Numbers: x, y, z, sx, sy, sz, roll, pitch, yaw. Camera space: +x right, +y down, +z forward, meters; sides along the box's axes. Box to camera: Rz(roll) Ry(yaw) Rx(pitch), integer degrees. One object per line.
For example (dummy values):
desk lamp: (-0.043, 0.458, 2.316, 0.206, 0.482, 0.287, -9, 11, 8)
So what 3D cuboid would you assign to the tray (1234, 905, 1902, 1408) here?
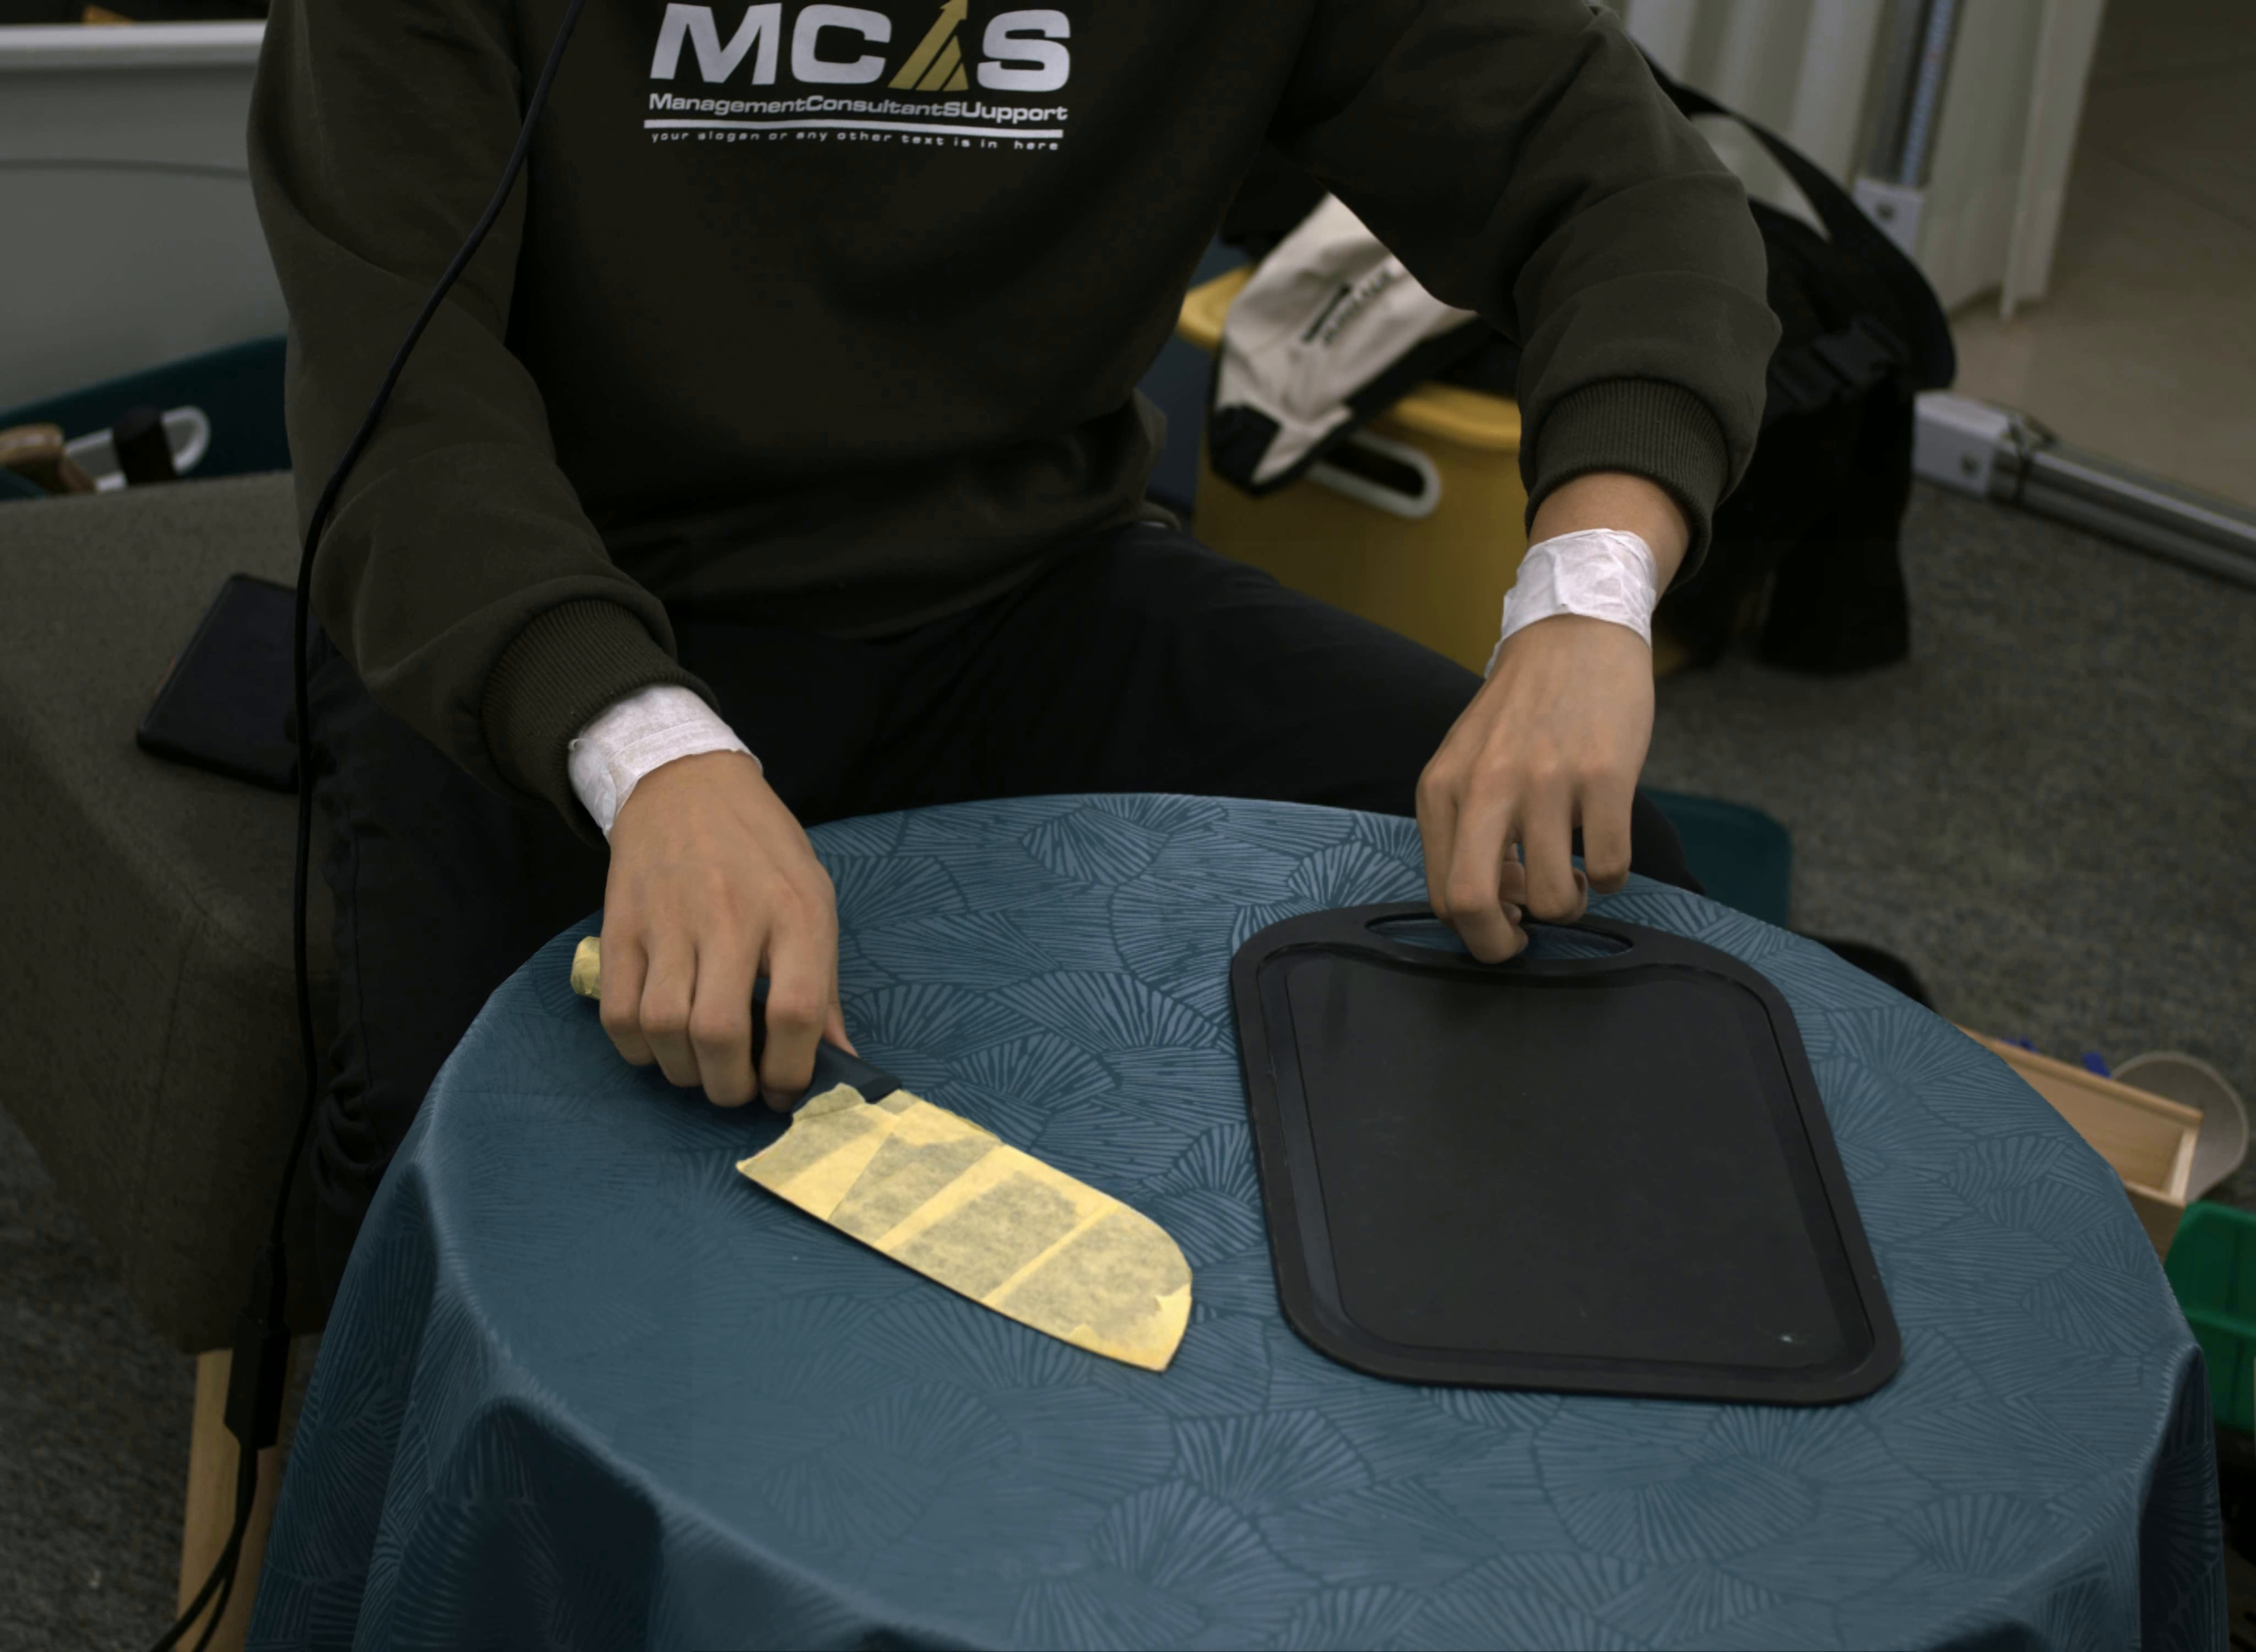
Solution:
tray: (0.147, 0.106, 1.861, 0.210, 0.010, 0.327, 4, 28, -5)

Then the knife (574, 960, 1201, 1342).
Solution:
knife: (-0.090, 0.111, 1.796, 0.291, 0.027, 0.081, 26, 37, 33)
